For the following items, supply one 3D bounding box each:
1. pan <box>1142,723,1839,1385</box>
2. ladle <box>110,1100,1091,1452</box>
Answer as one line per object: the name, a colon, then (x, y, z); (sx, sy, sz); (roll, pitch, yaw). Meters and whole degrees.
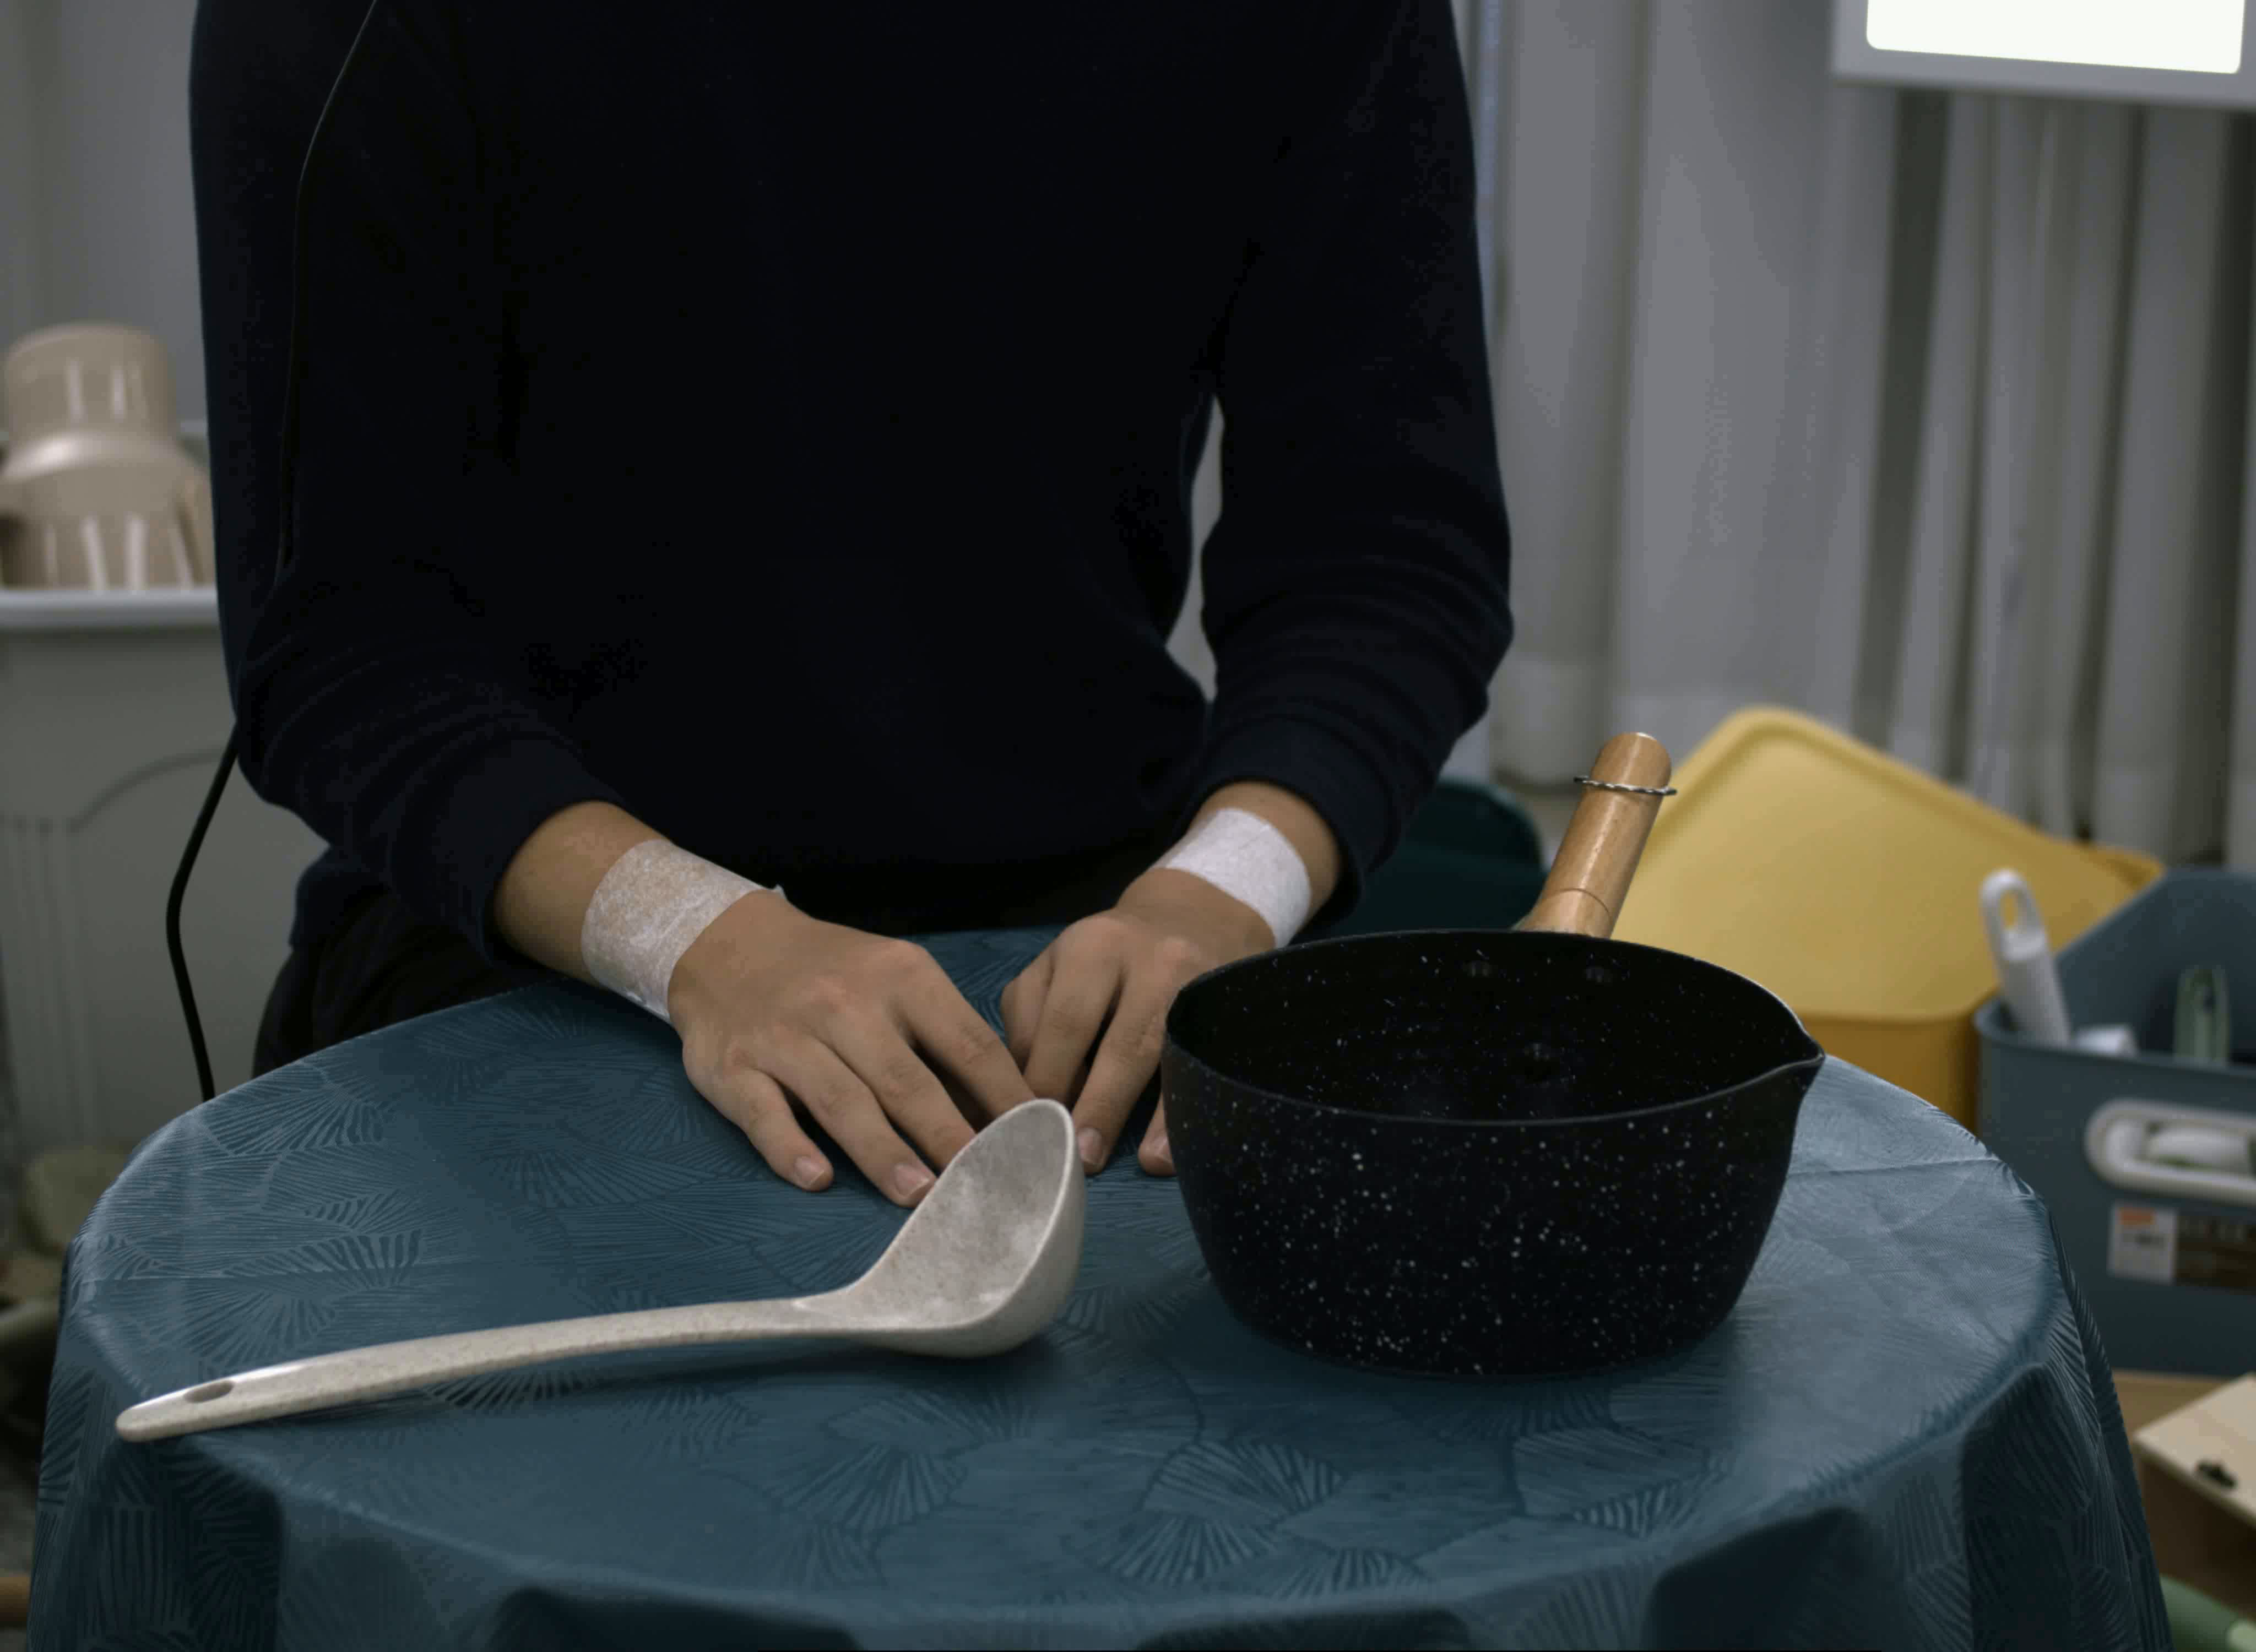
pan: (0.121, 0.063, 1.599); (0.206, 0.109, 0.342); (3, 17, 14)
ladle: (-0.144, 0.124, 1.455); (0.275, 0.070, 0.088); (-5, 24, -16)
